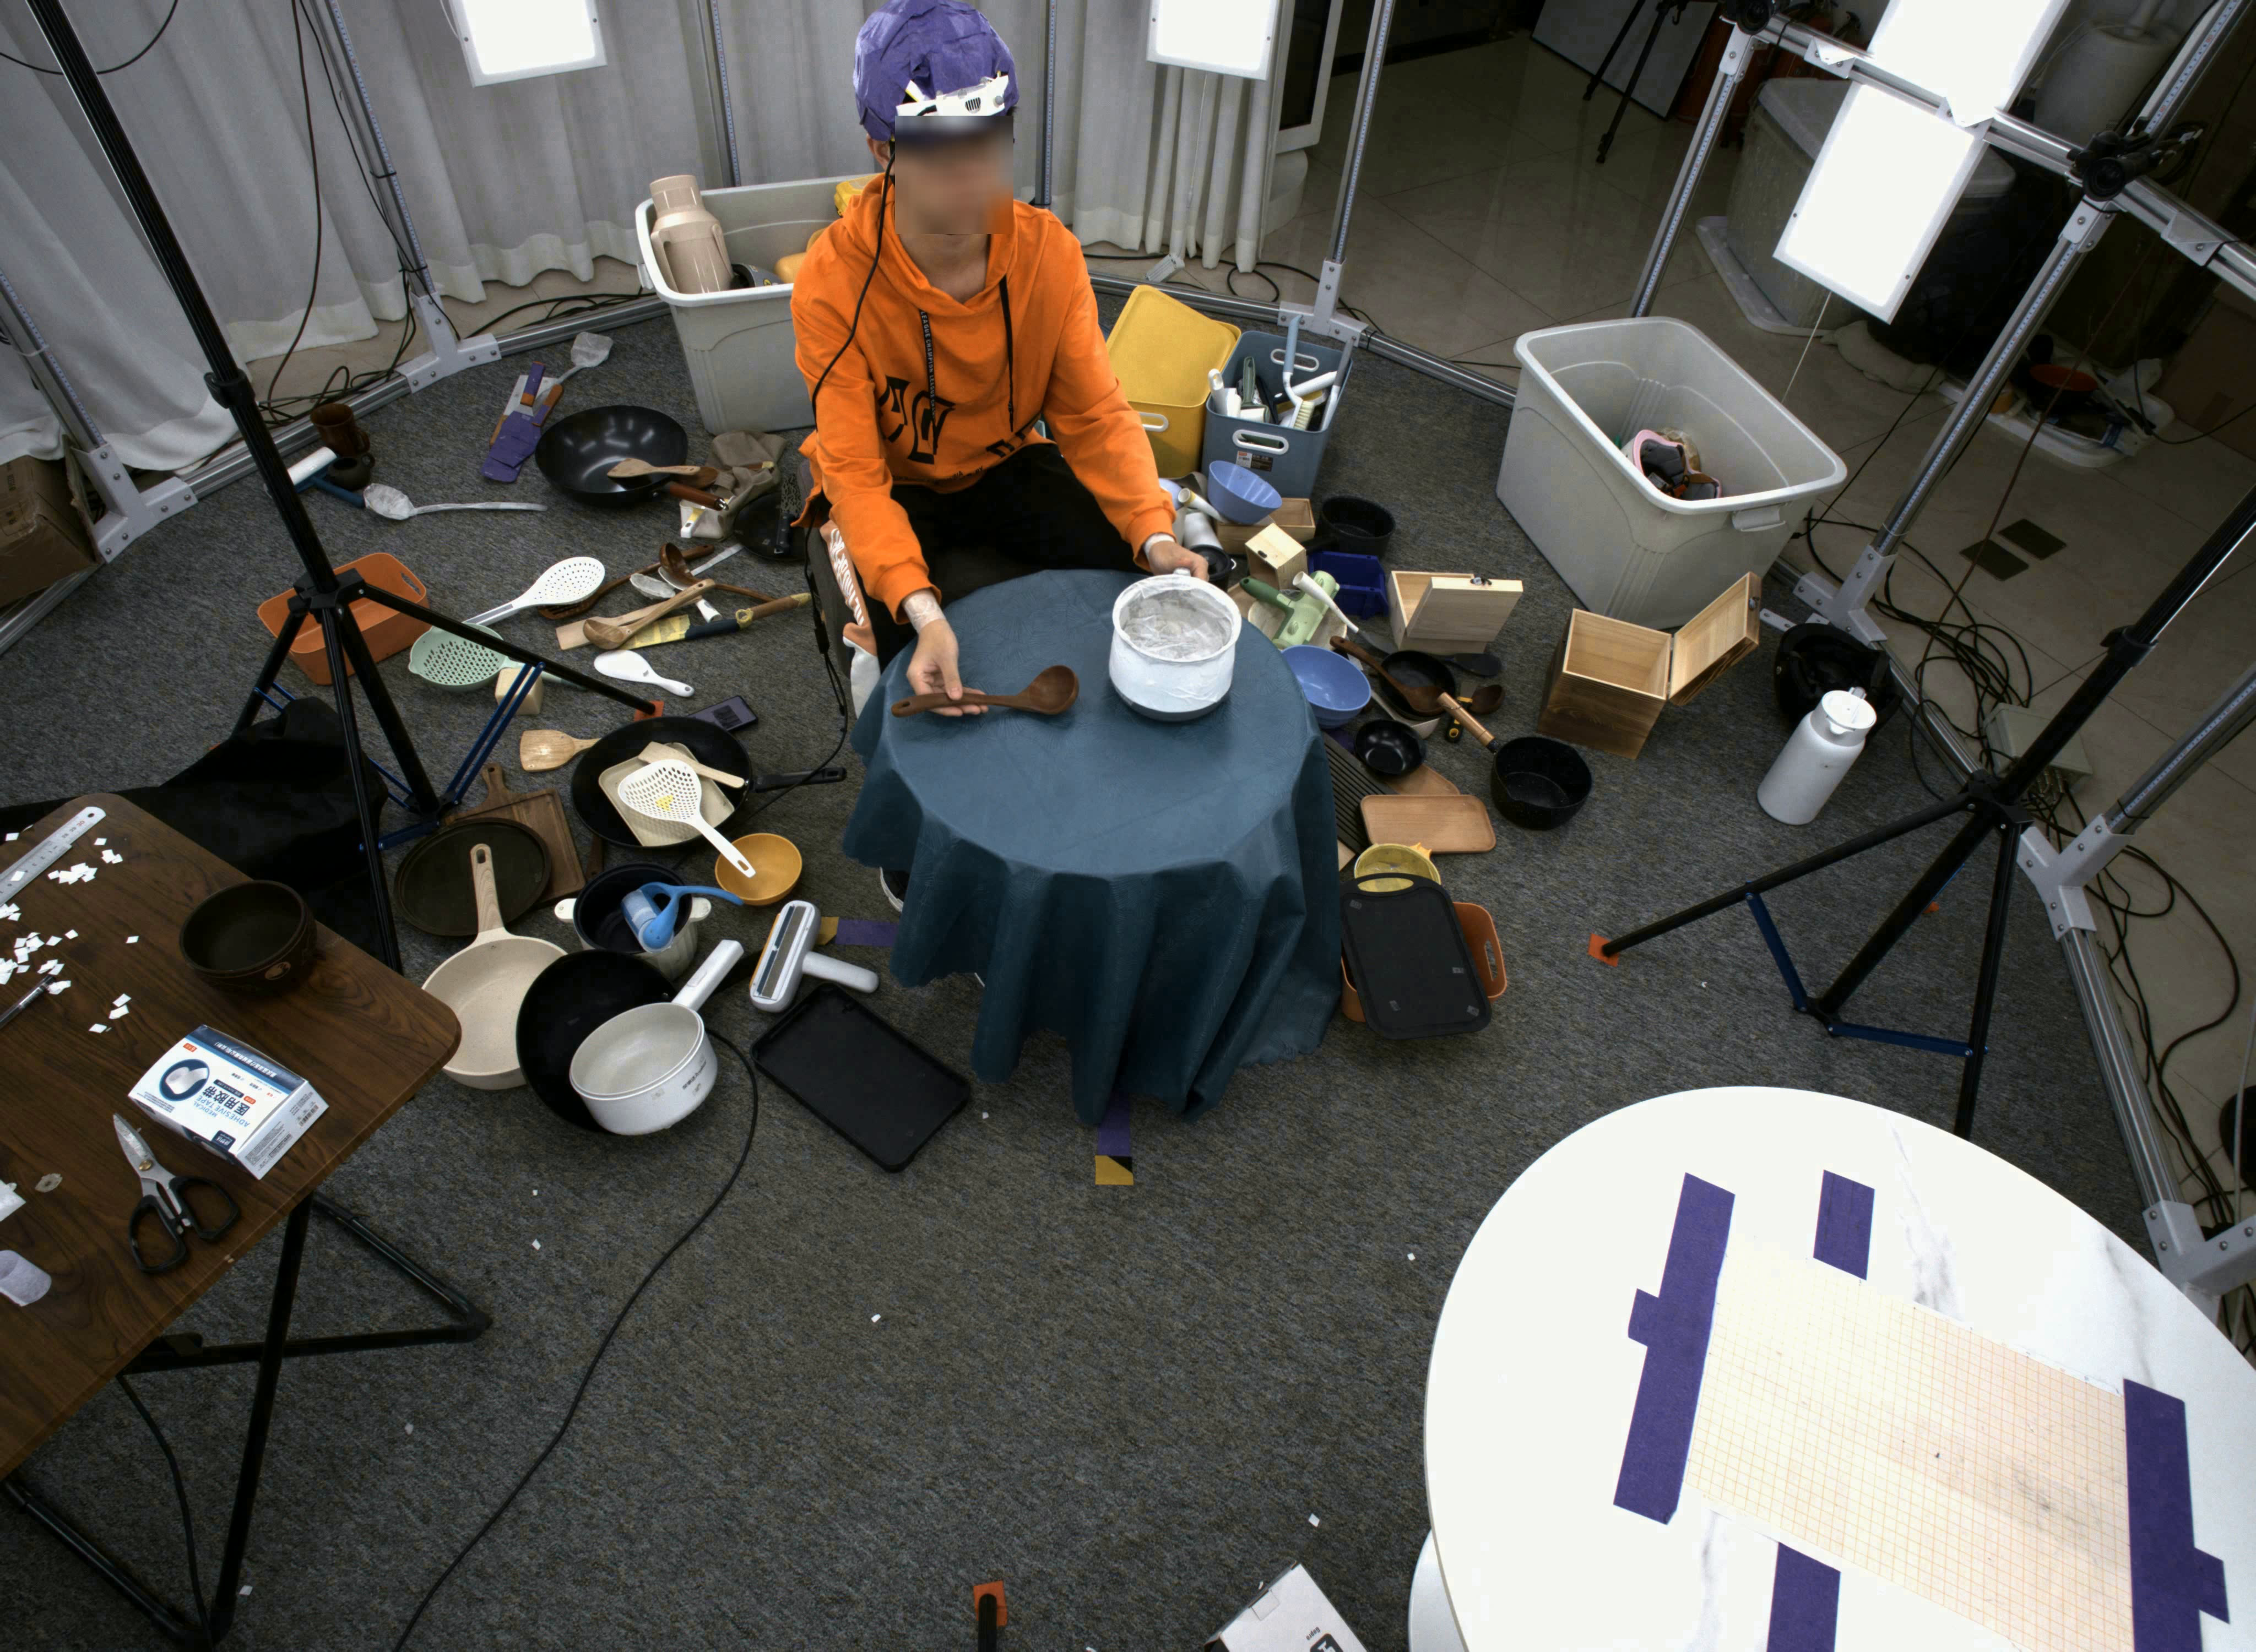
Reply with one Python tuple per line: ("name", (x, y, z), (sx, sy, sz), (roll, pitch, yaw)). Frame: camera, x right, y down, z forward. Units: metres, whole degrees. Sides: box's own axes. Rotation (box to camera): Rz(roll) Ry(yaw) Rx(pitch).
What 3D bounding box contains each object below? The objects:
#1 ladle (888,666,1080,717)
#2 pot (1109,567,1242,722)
("ladle", (-0.194, -0.181, 1.758), (0.259, 0.063, 0.078), (-3, 48, -19))
("pot", (0.065, -0.267, 1.816), (0.178, 0.133, 0.239), (6, 49, 0))
